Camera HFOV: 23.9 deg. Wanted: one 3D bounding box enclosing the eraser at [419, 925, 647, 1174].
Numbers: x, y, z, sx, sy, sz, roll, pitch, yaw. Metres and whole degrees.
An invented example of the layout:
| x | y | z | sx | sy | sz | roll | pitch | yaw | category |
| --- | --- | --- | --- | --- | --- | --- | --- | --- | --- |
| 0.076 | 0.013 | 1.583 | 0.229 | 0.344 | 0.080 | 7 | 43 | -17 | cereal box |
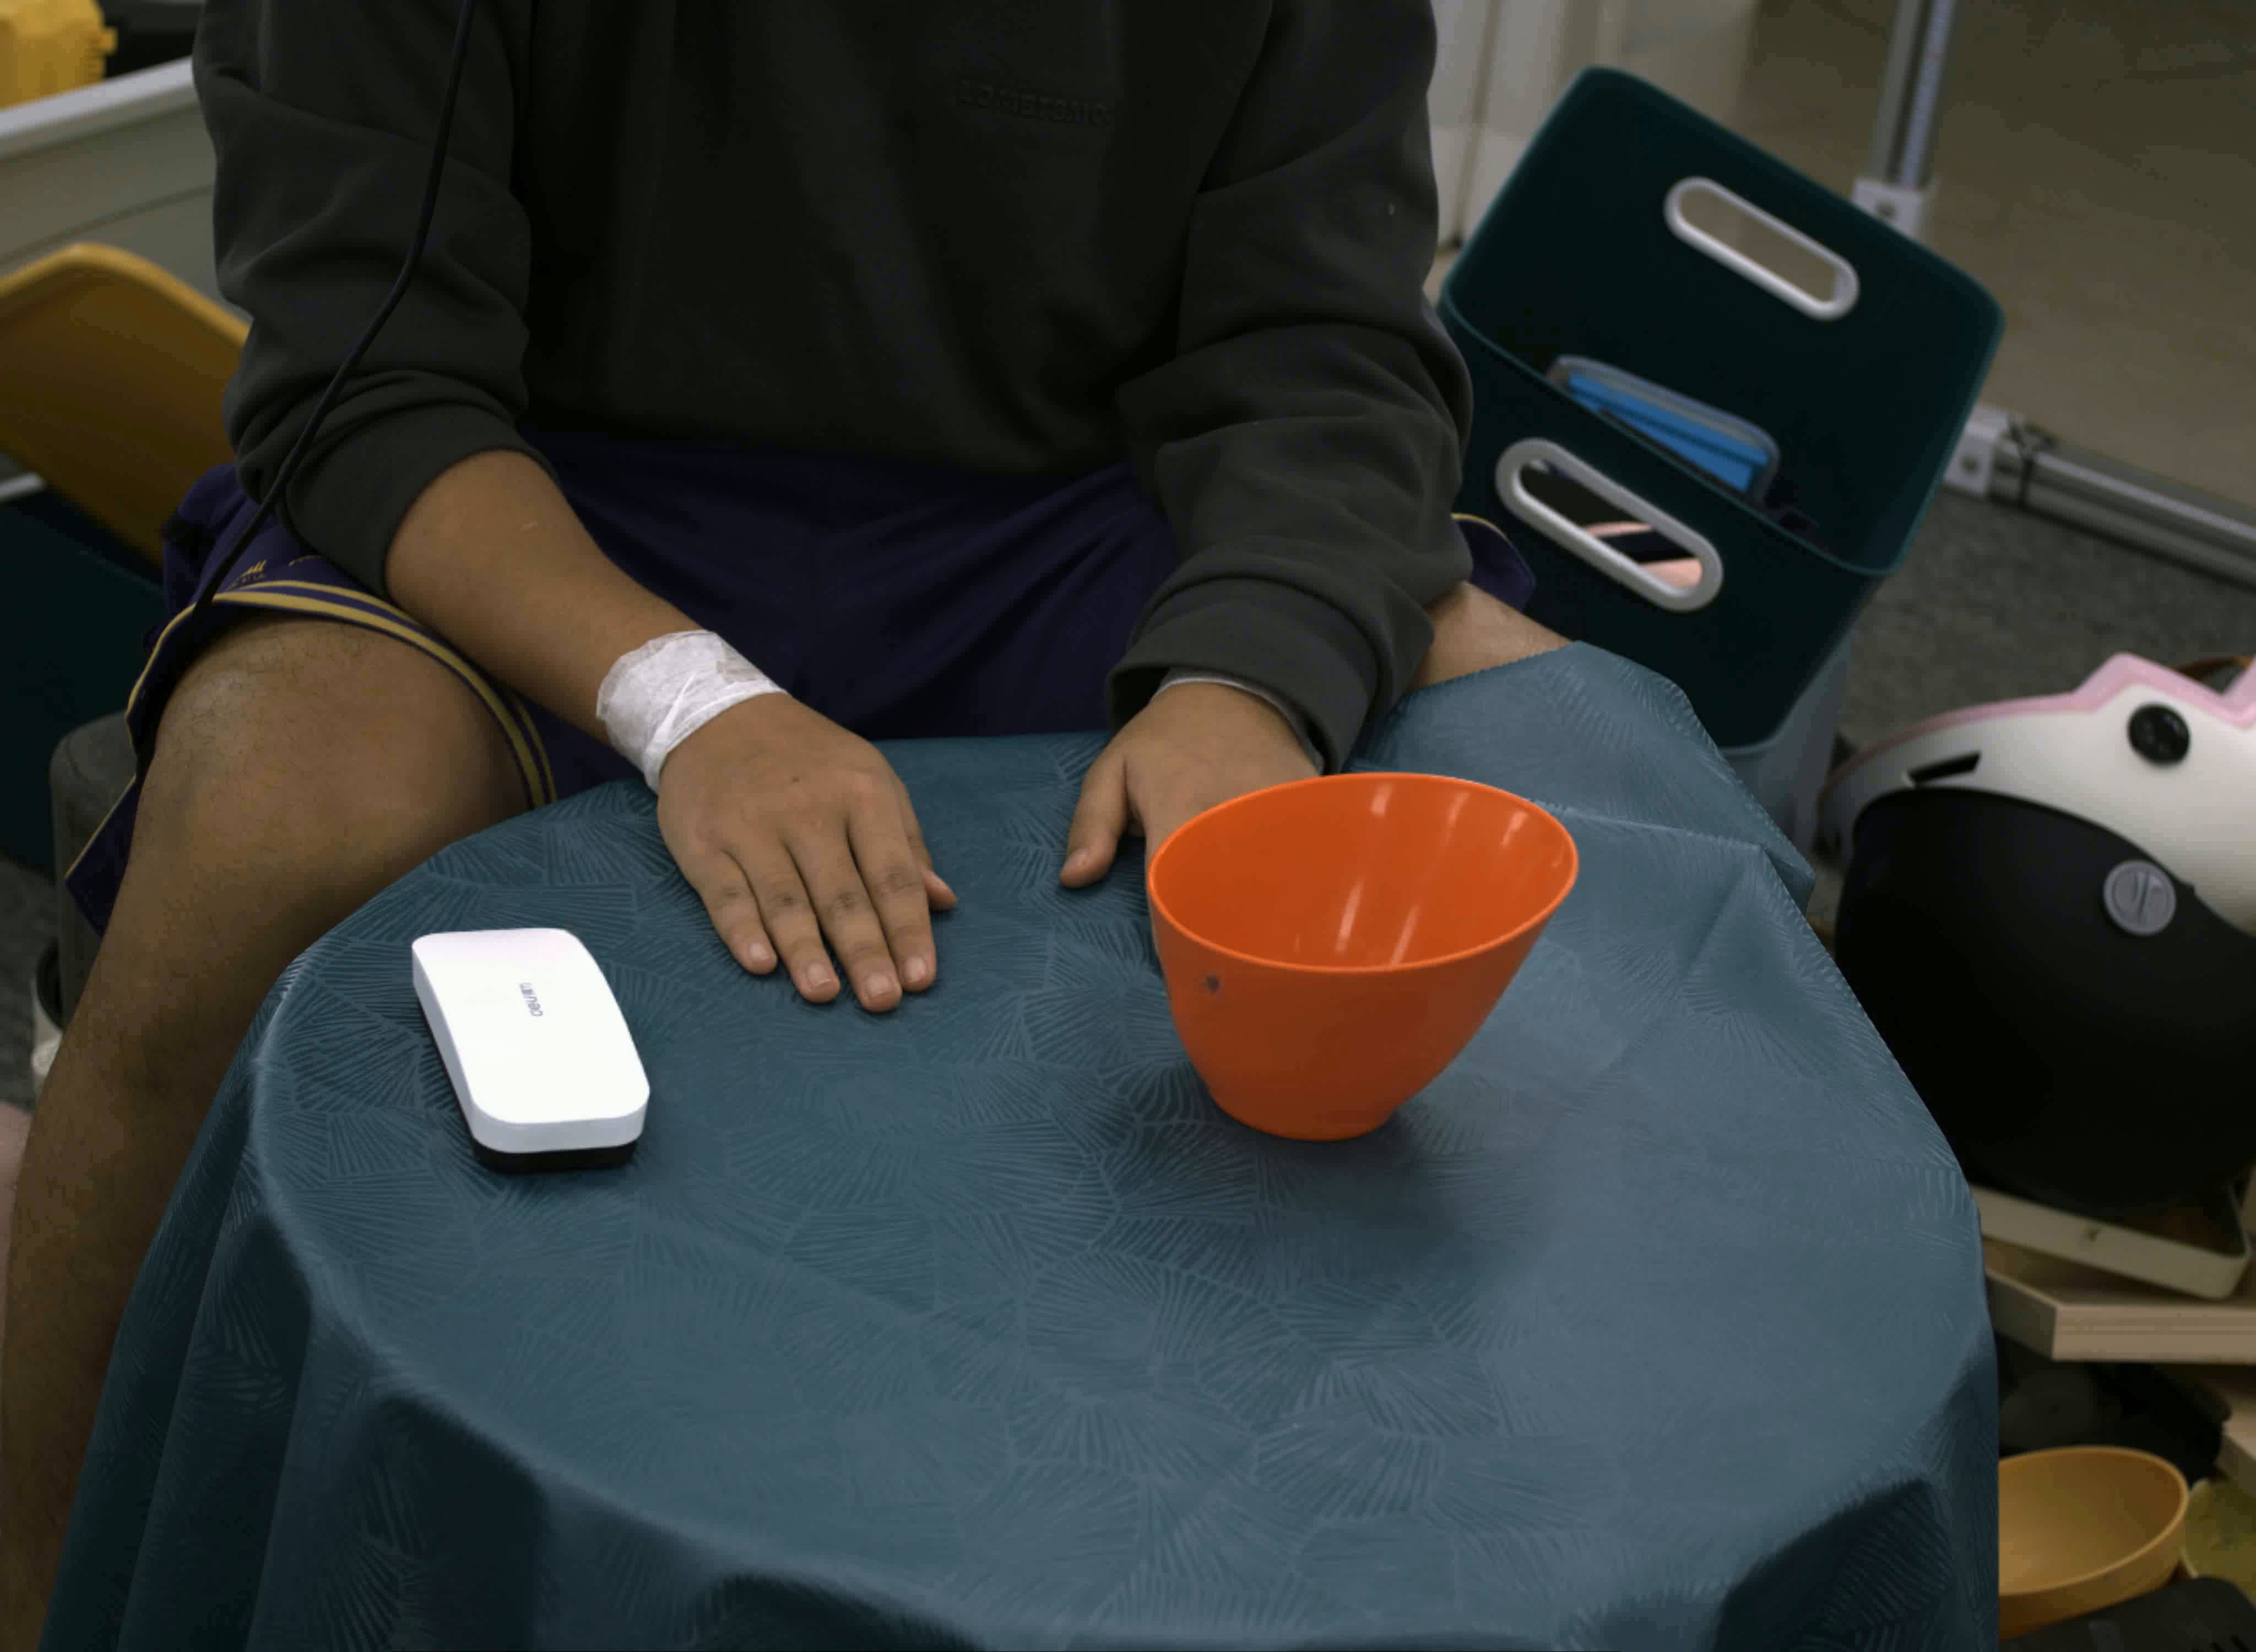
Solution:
| x | y | z | sx | sy | sz | roll | pitch | yaw | category |
| --- | --- | --- | --- | --- | --- | --- | --- | --- | --- |
| -0.204 | 0.072 | 1.820 | 0.063 | 0.034 | 0.132 | -1 | 29 | -17 | eraser |

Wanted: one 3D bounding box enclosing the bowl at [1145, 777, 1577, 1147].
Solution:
| x | y | z | sx | sy | sz | roll | pitch | yaw | category |
| --- | --- | --- | --- | --- | --- | --- | --- | --- | --- |
| 0.076 | 0.052 | 1.849 | 0.147 | 0.104 | 0.149 | 4 | 27 | -3 | bowl |
